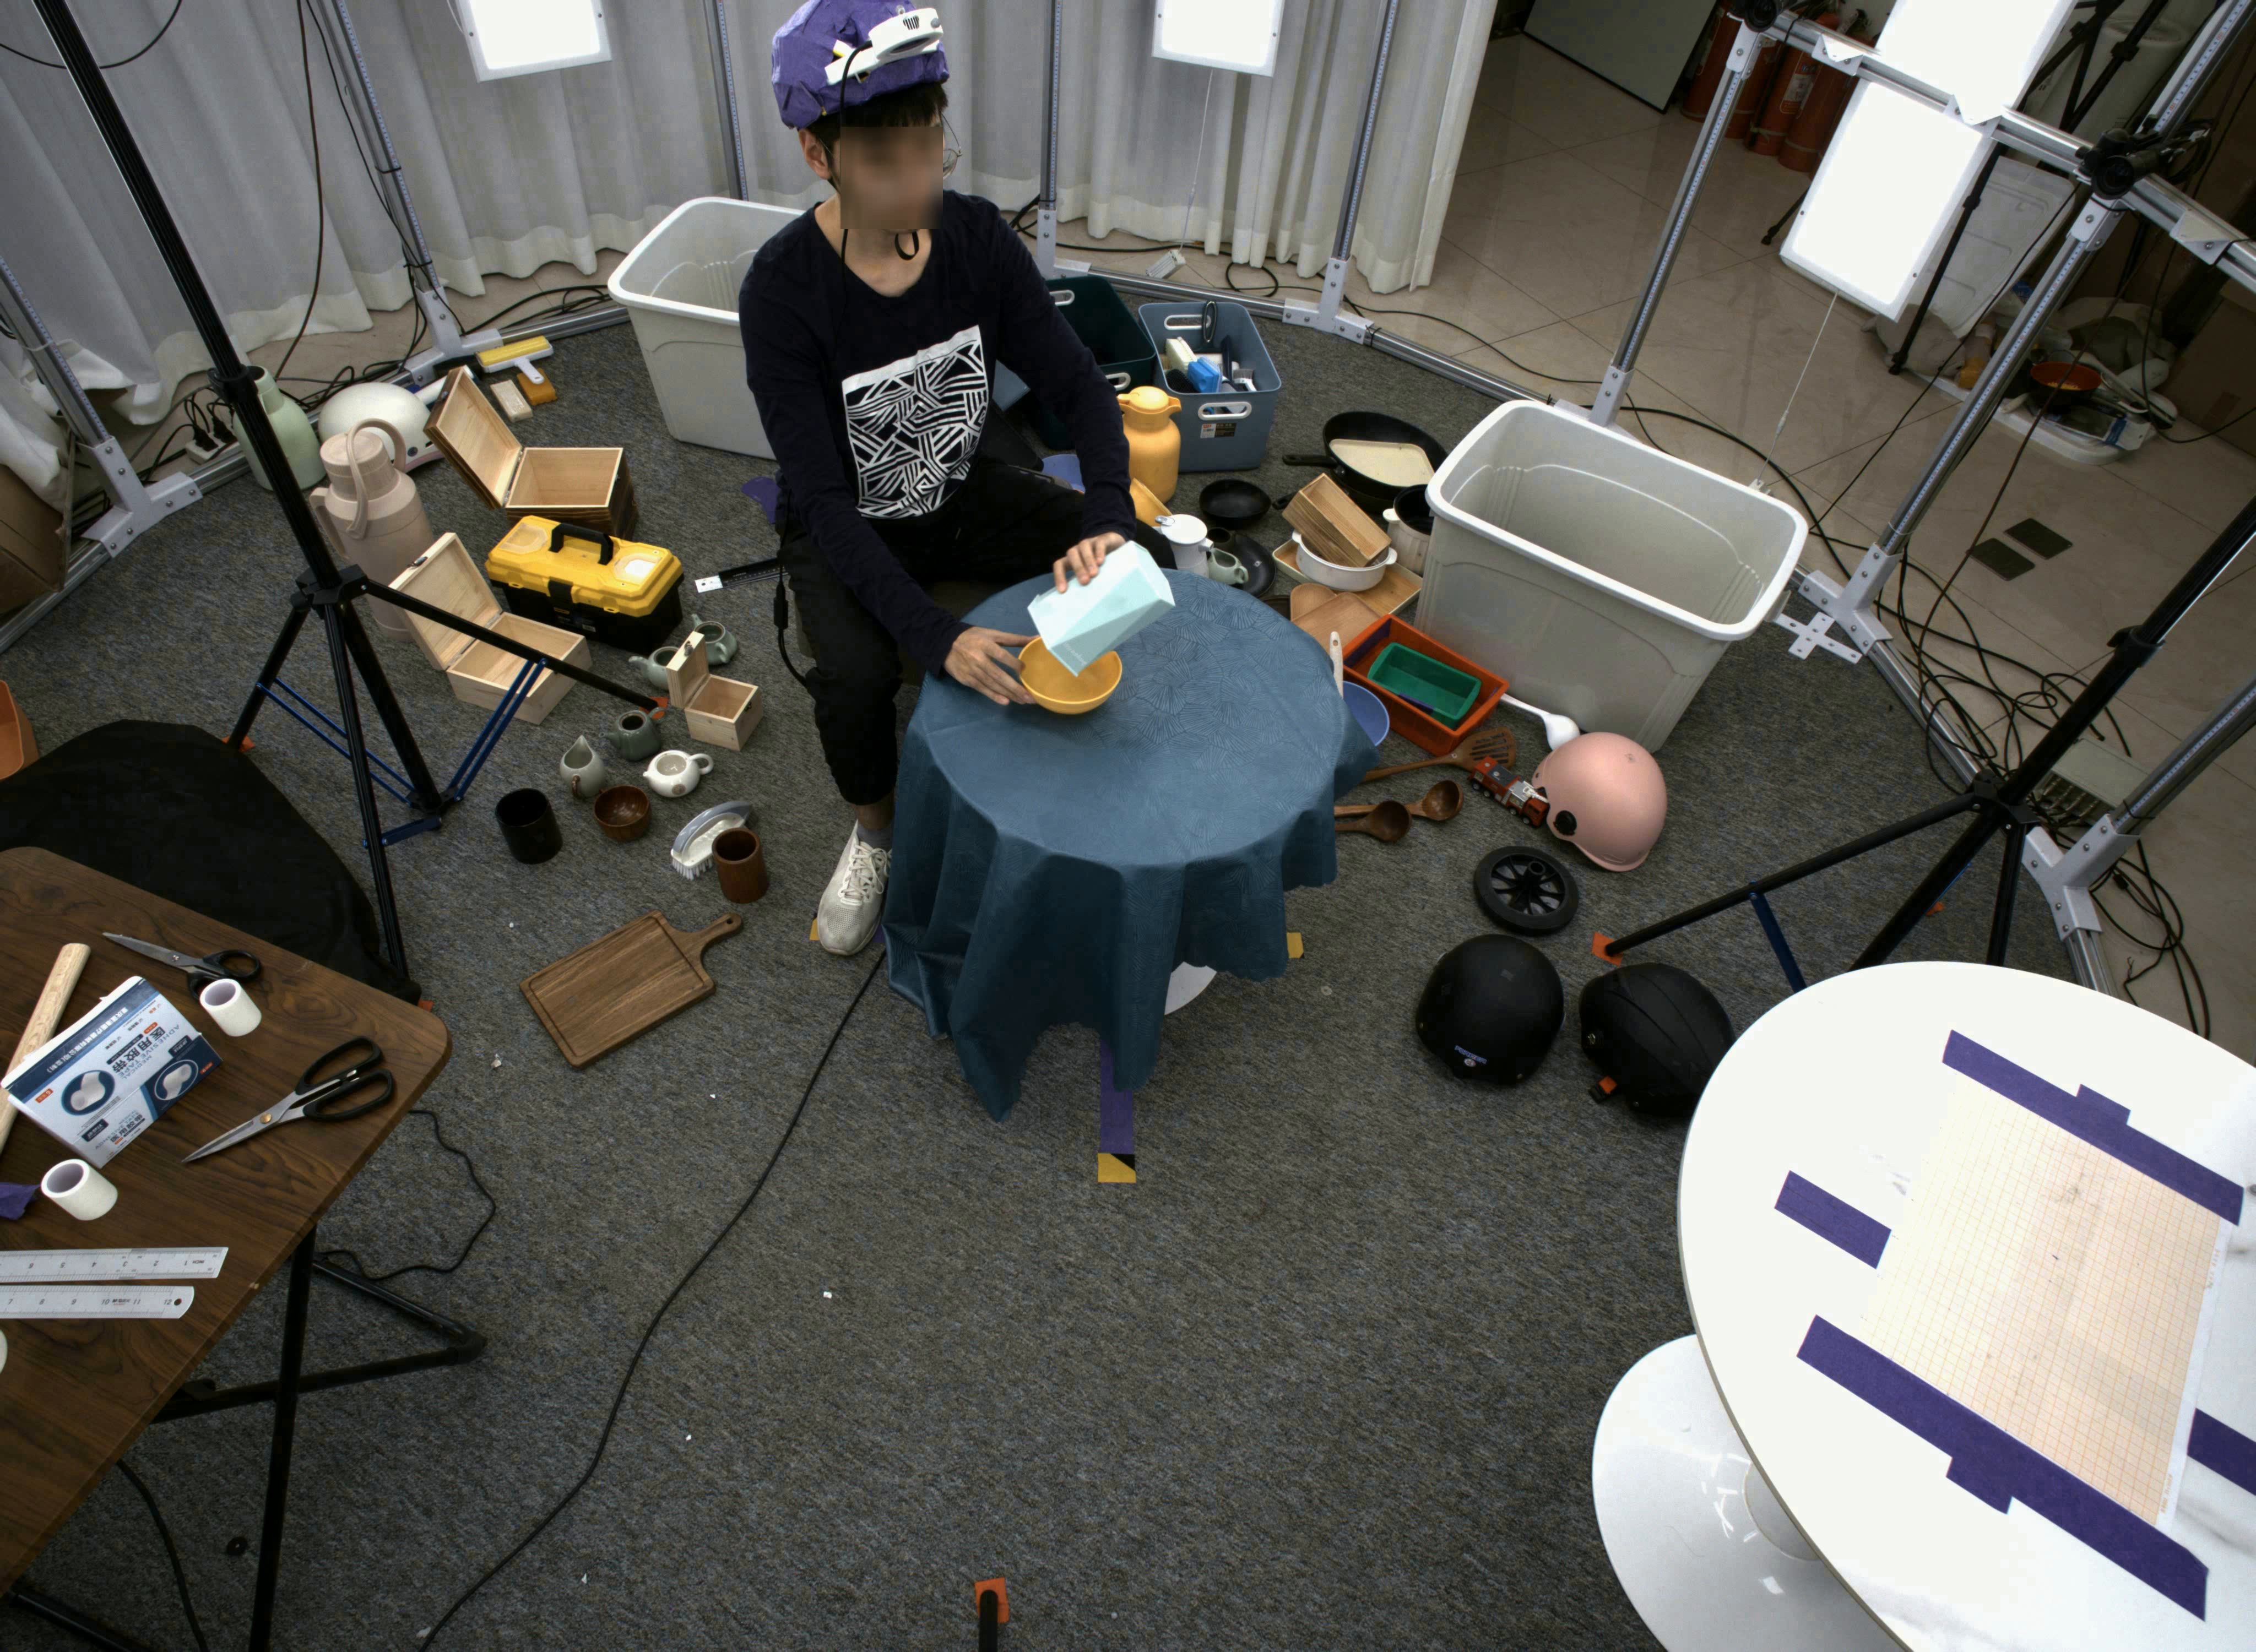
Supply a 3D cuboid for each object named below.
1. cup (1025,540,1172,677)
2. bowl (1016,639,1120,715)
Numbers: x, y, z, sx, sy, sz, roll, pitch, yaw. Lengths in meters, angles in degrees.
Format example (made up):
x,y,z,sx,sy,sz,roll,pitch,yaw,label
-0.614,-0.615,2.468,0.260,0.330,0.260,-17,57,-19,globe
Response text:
x,y,z,sx,sy,sz,roll,pitch,yaw,label
-0.035,-0.296,1.721,0.162,0.128,0.118,-31,42,21,cup
-0.084,-0.201,1.803,0.145,0.058,0.149,2,46,-2,bowl
